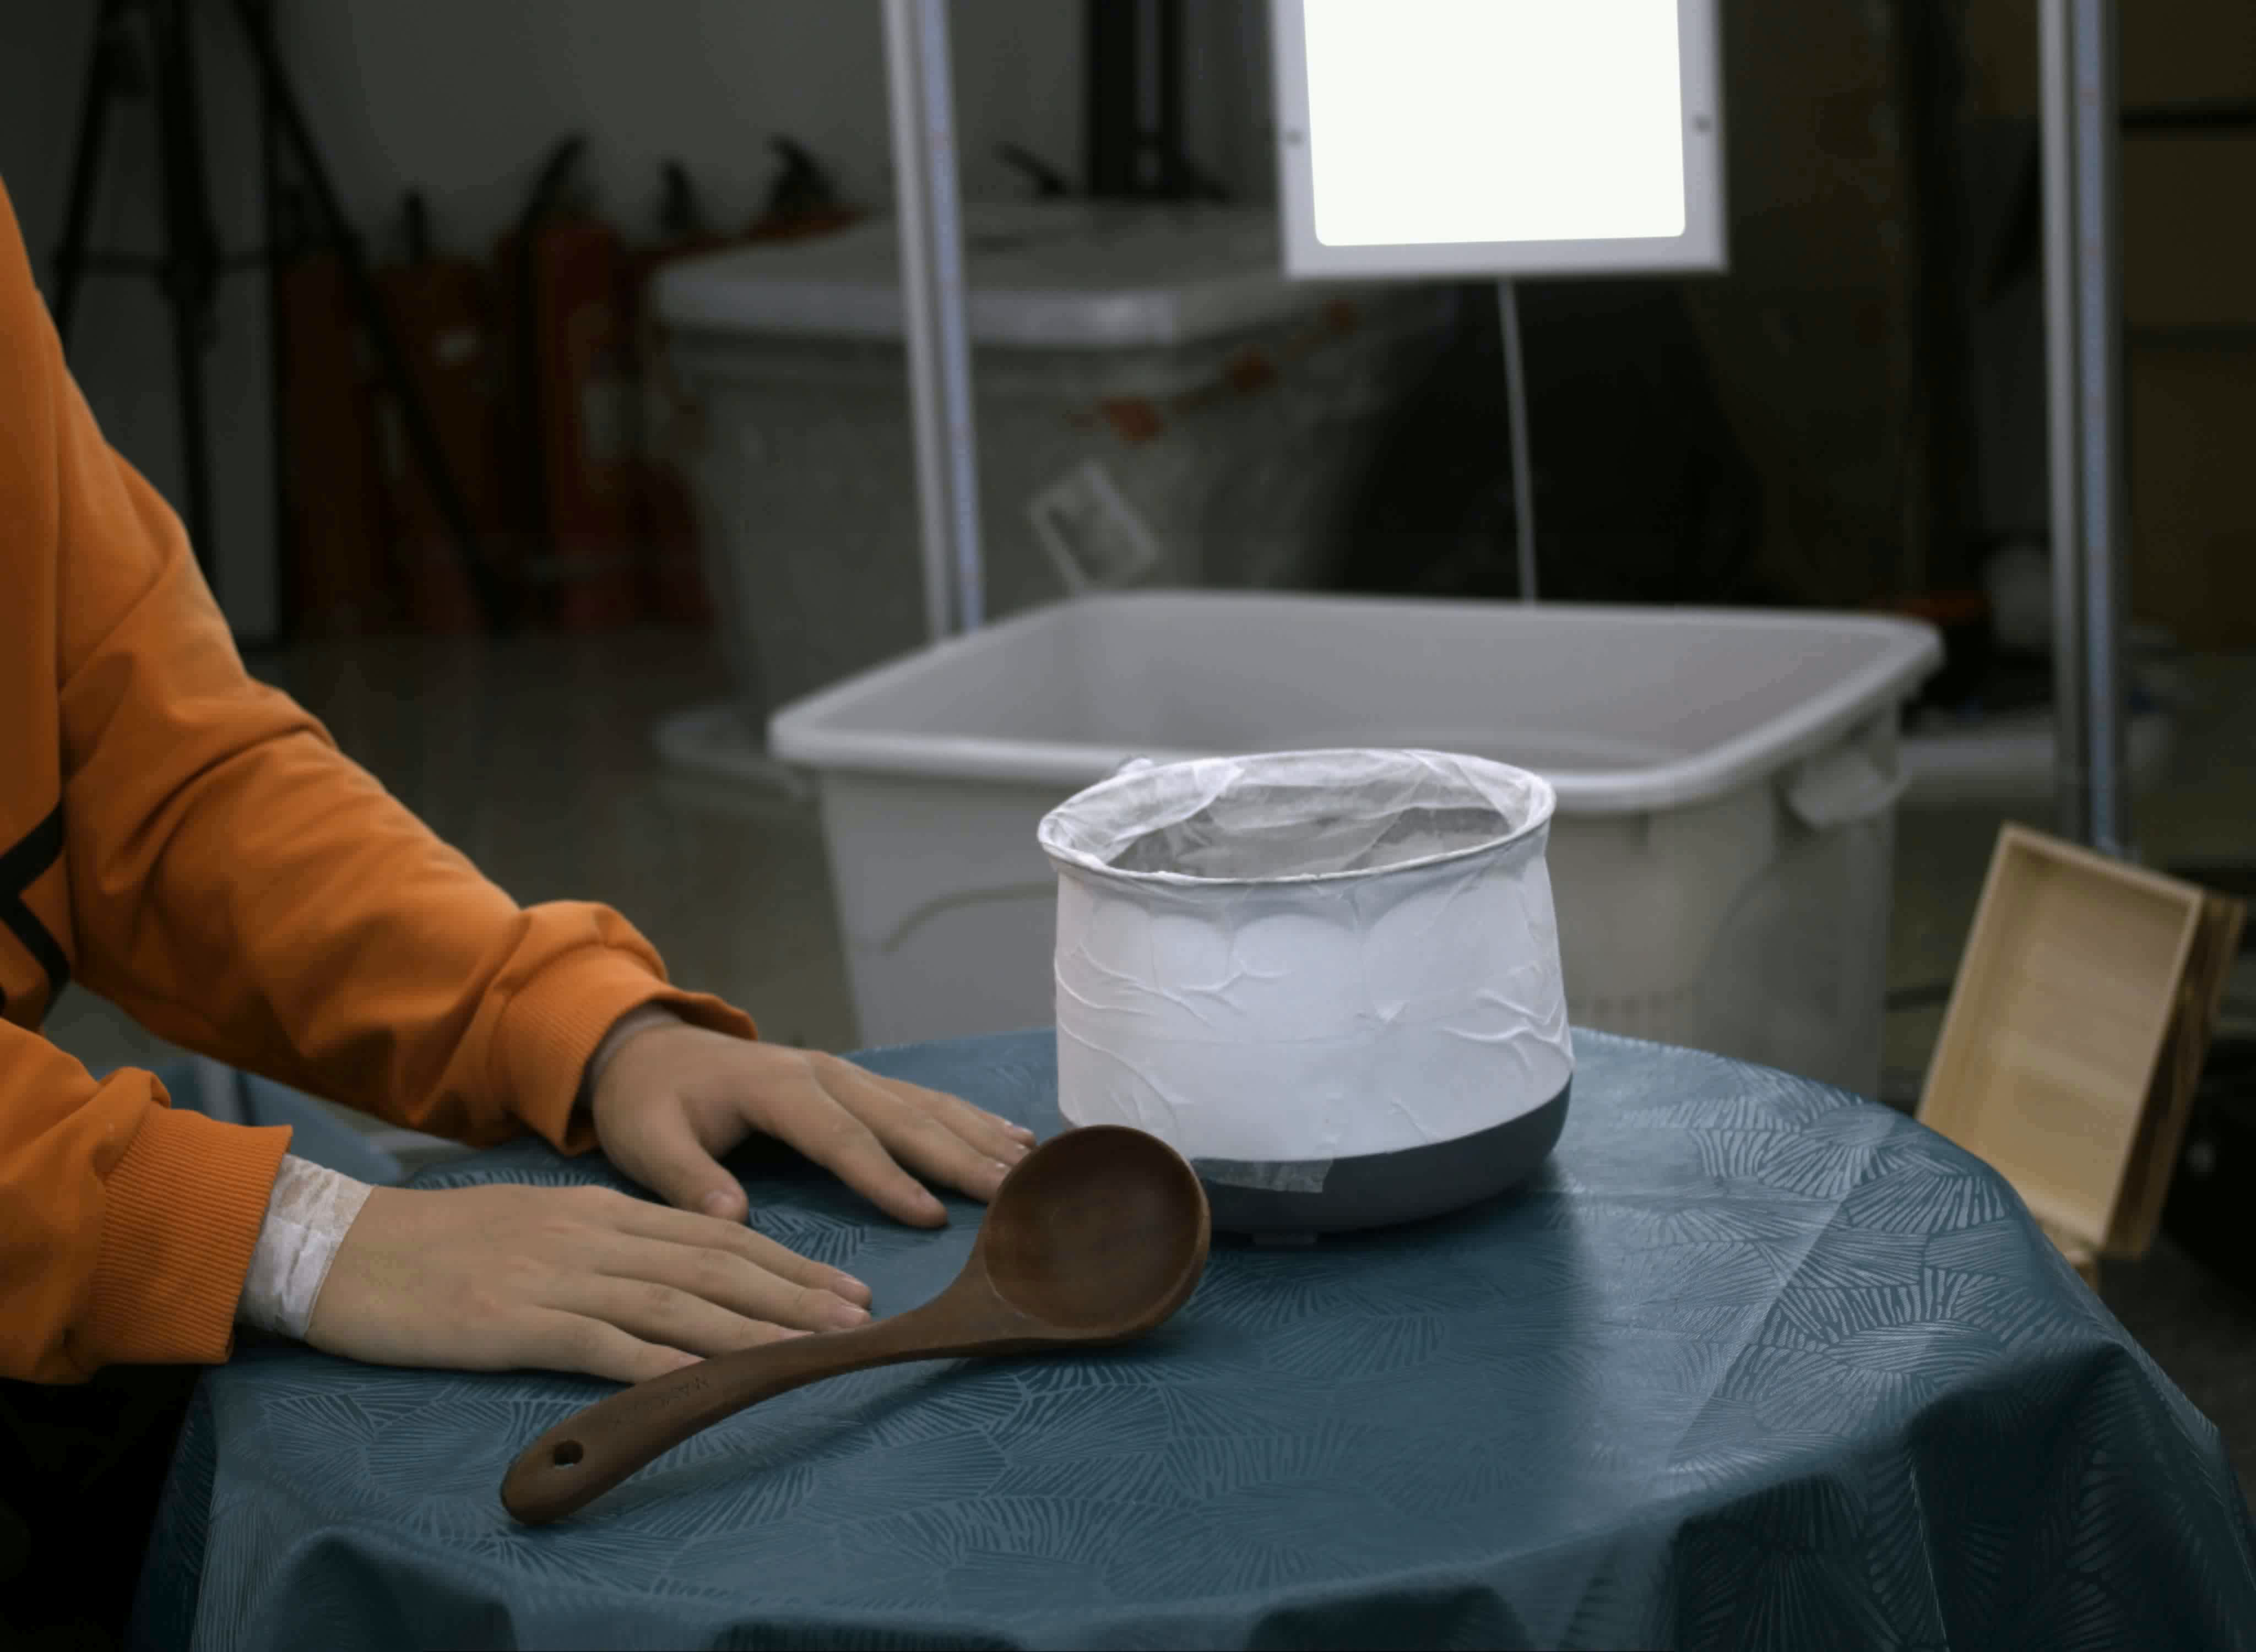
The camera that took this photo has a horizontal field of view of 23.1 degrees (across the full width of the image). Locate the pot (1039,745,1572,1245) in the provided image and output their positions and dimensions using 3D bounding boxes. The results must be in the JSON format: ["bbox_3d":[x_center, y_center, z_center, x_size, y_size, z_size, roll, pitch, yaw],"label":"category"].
[{"bbox_3d":[0.046,0.051,1.896,0.174,0.137,0.238,-13,16,-32],"label":"pot"}]

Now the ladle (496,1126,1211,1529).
[{"bbox_3d":[-0.082,0.153,1.693,0.253,0.066,0.077,-15,41,-37],"label":"ladle"}]
